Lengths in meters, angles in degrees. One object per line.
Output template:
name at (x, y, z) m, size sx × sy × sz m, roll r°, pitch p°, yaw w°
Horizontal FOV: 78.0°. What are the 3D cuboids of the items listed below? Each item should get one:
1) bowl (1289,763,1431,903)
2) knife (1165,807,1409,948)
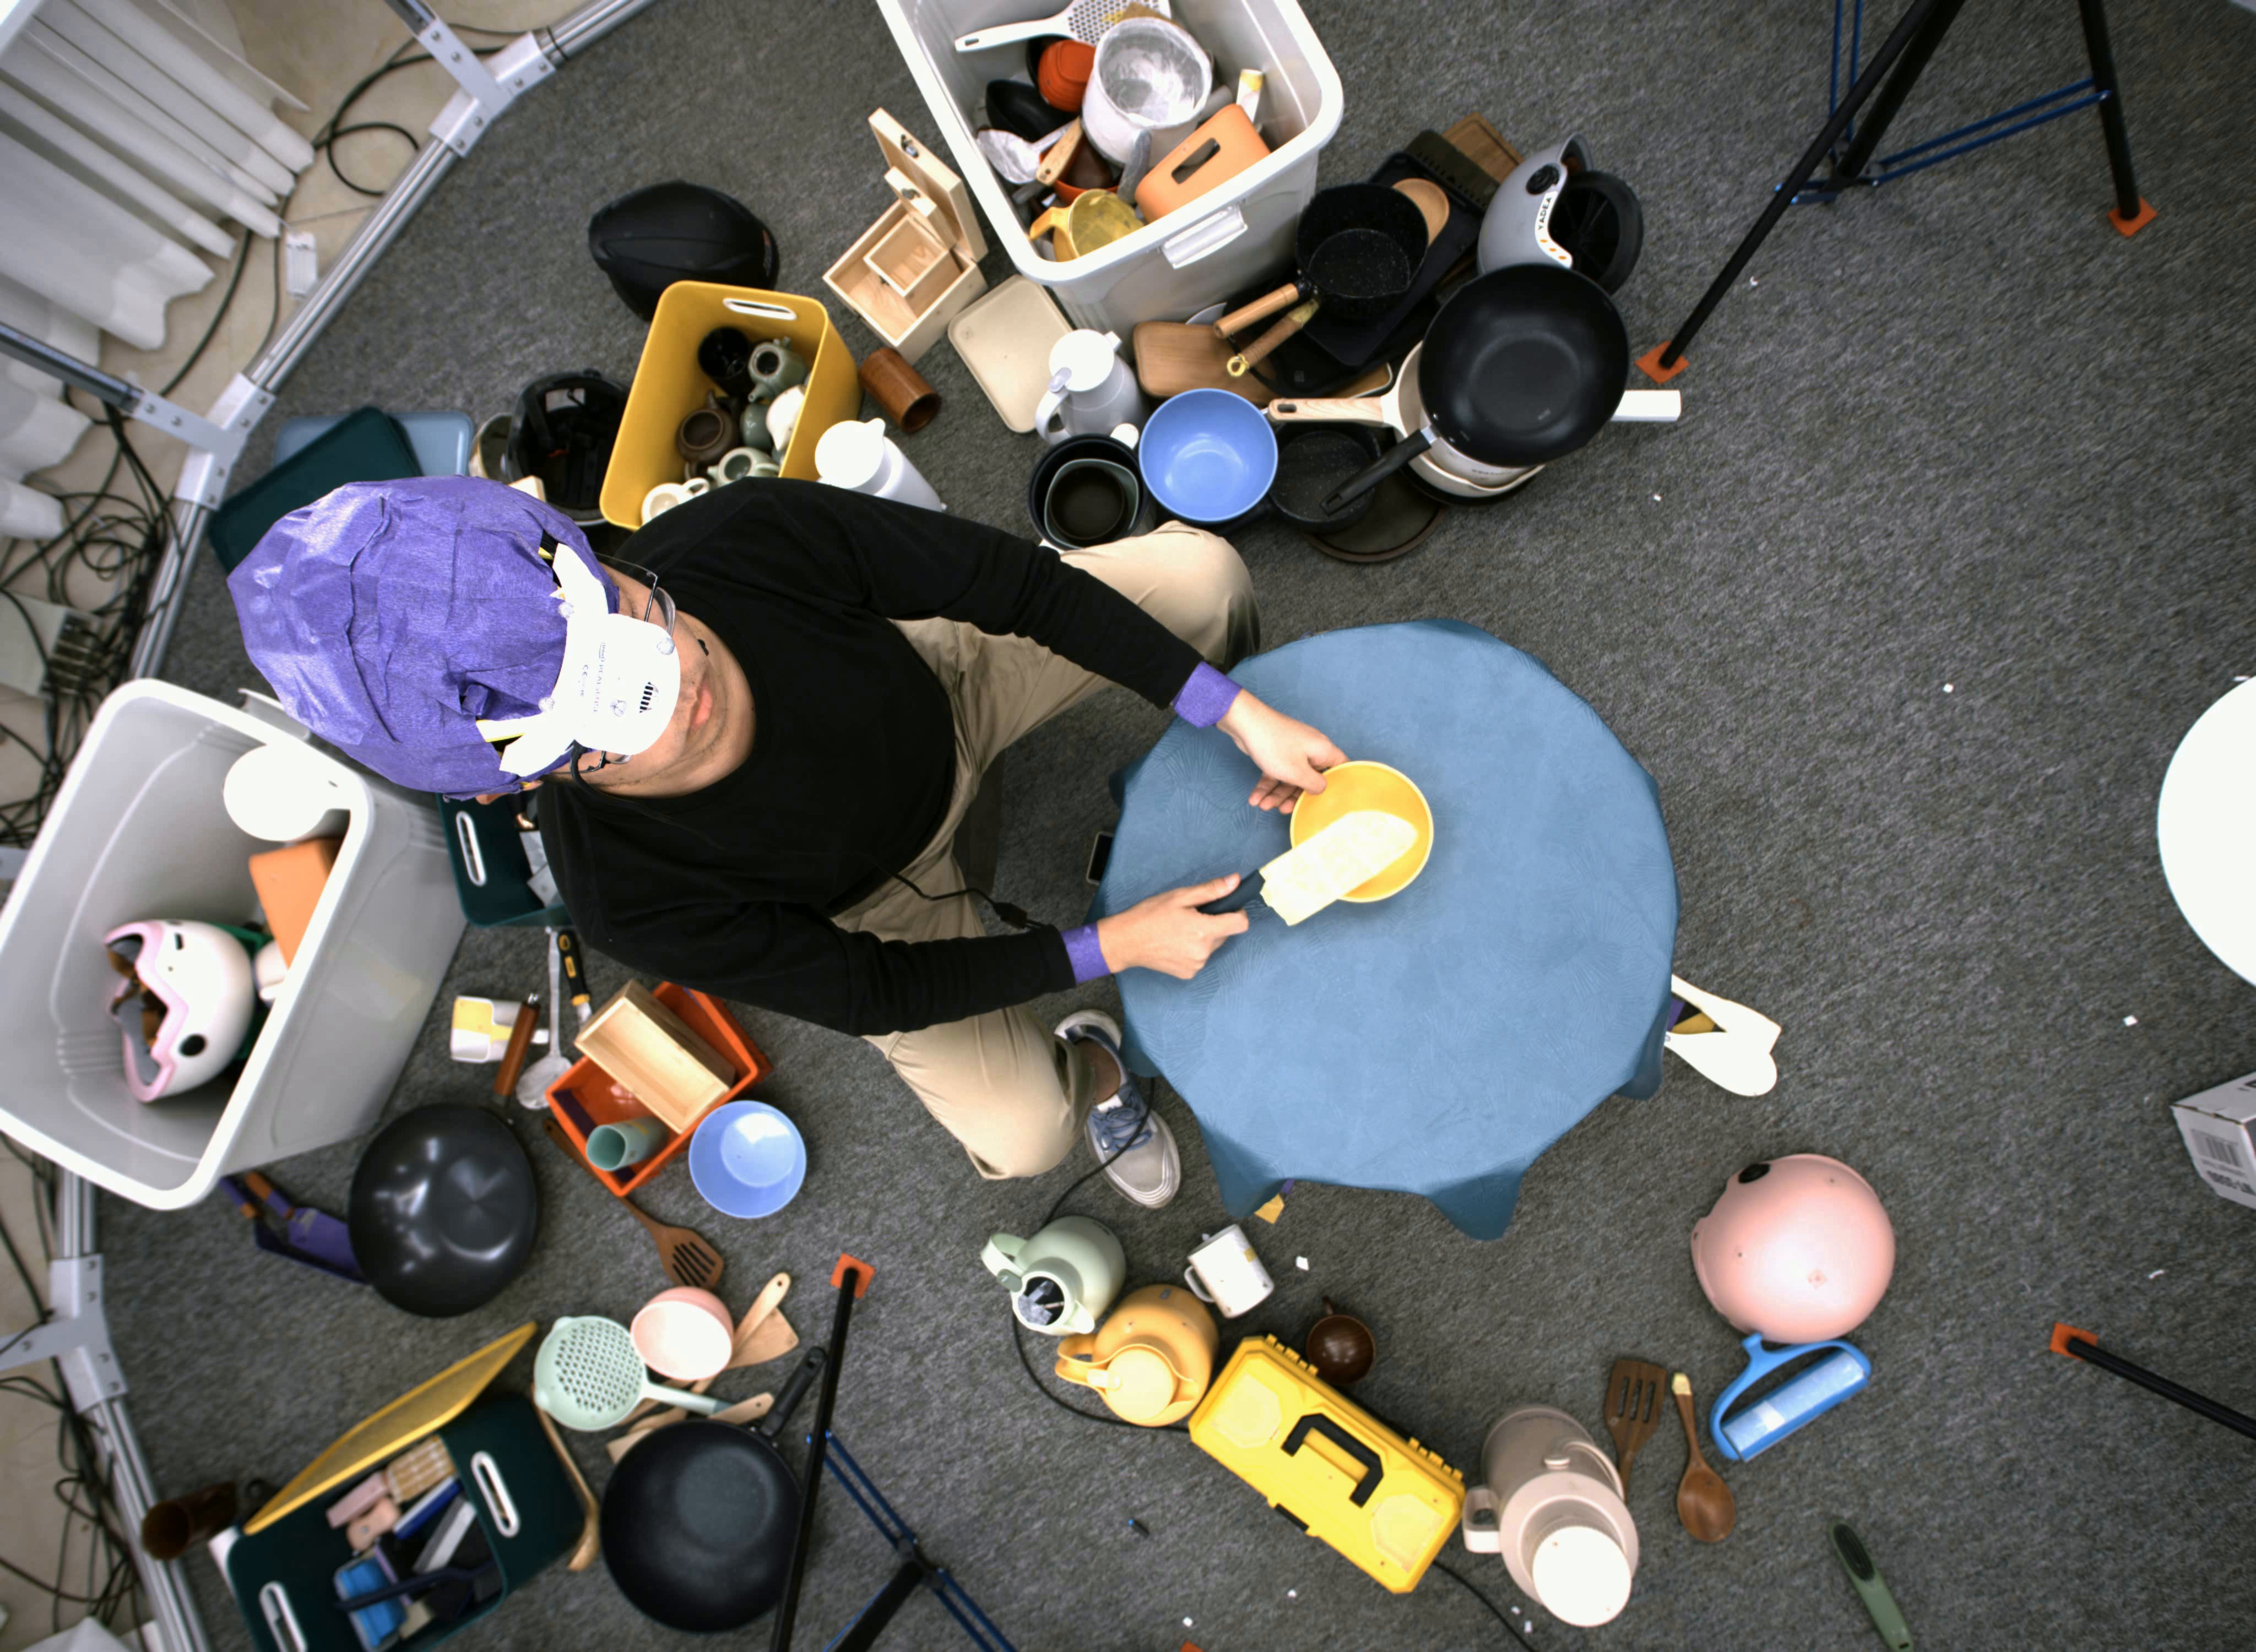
bowl at (0.241, 0.009, 1.437) m, size 0.146 × 0.060 × 0.144 m, roll -1°, pitch 84°, yaw 10°
knife at (0.161, 0.061, 1.414) m, size 0.294 × 0.026 × 0.082 m, roll -31°, pitch 108°, yaw 26°
